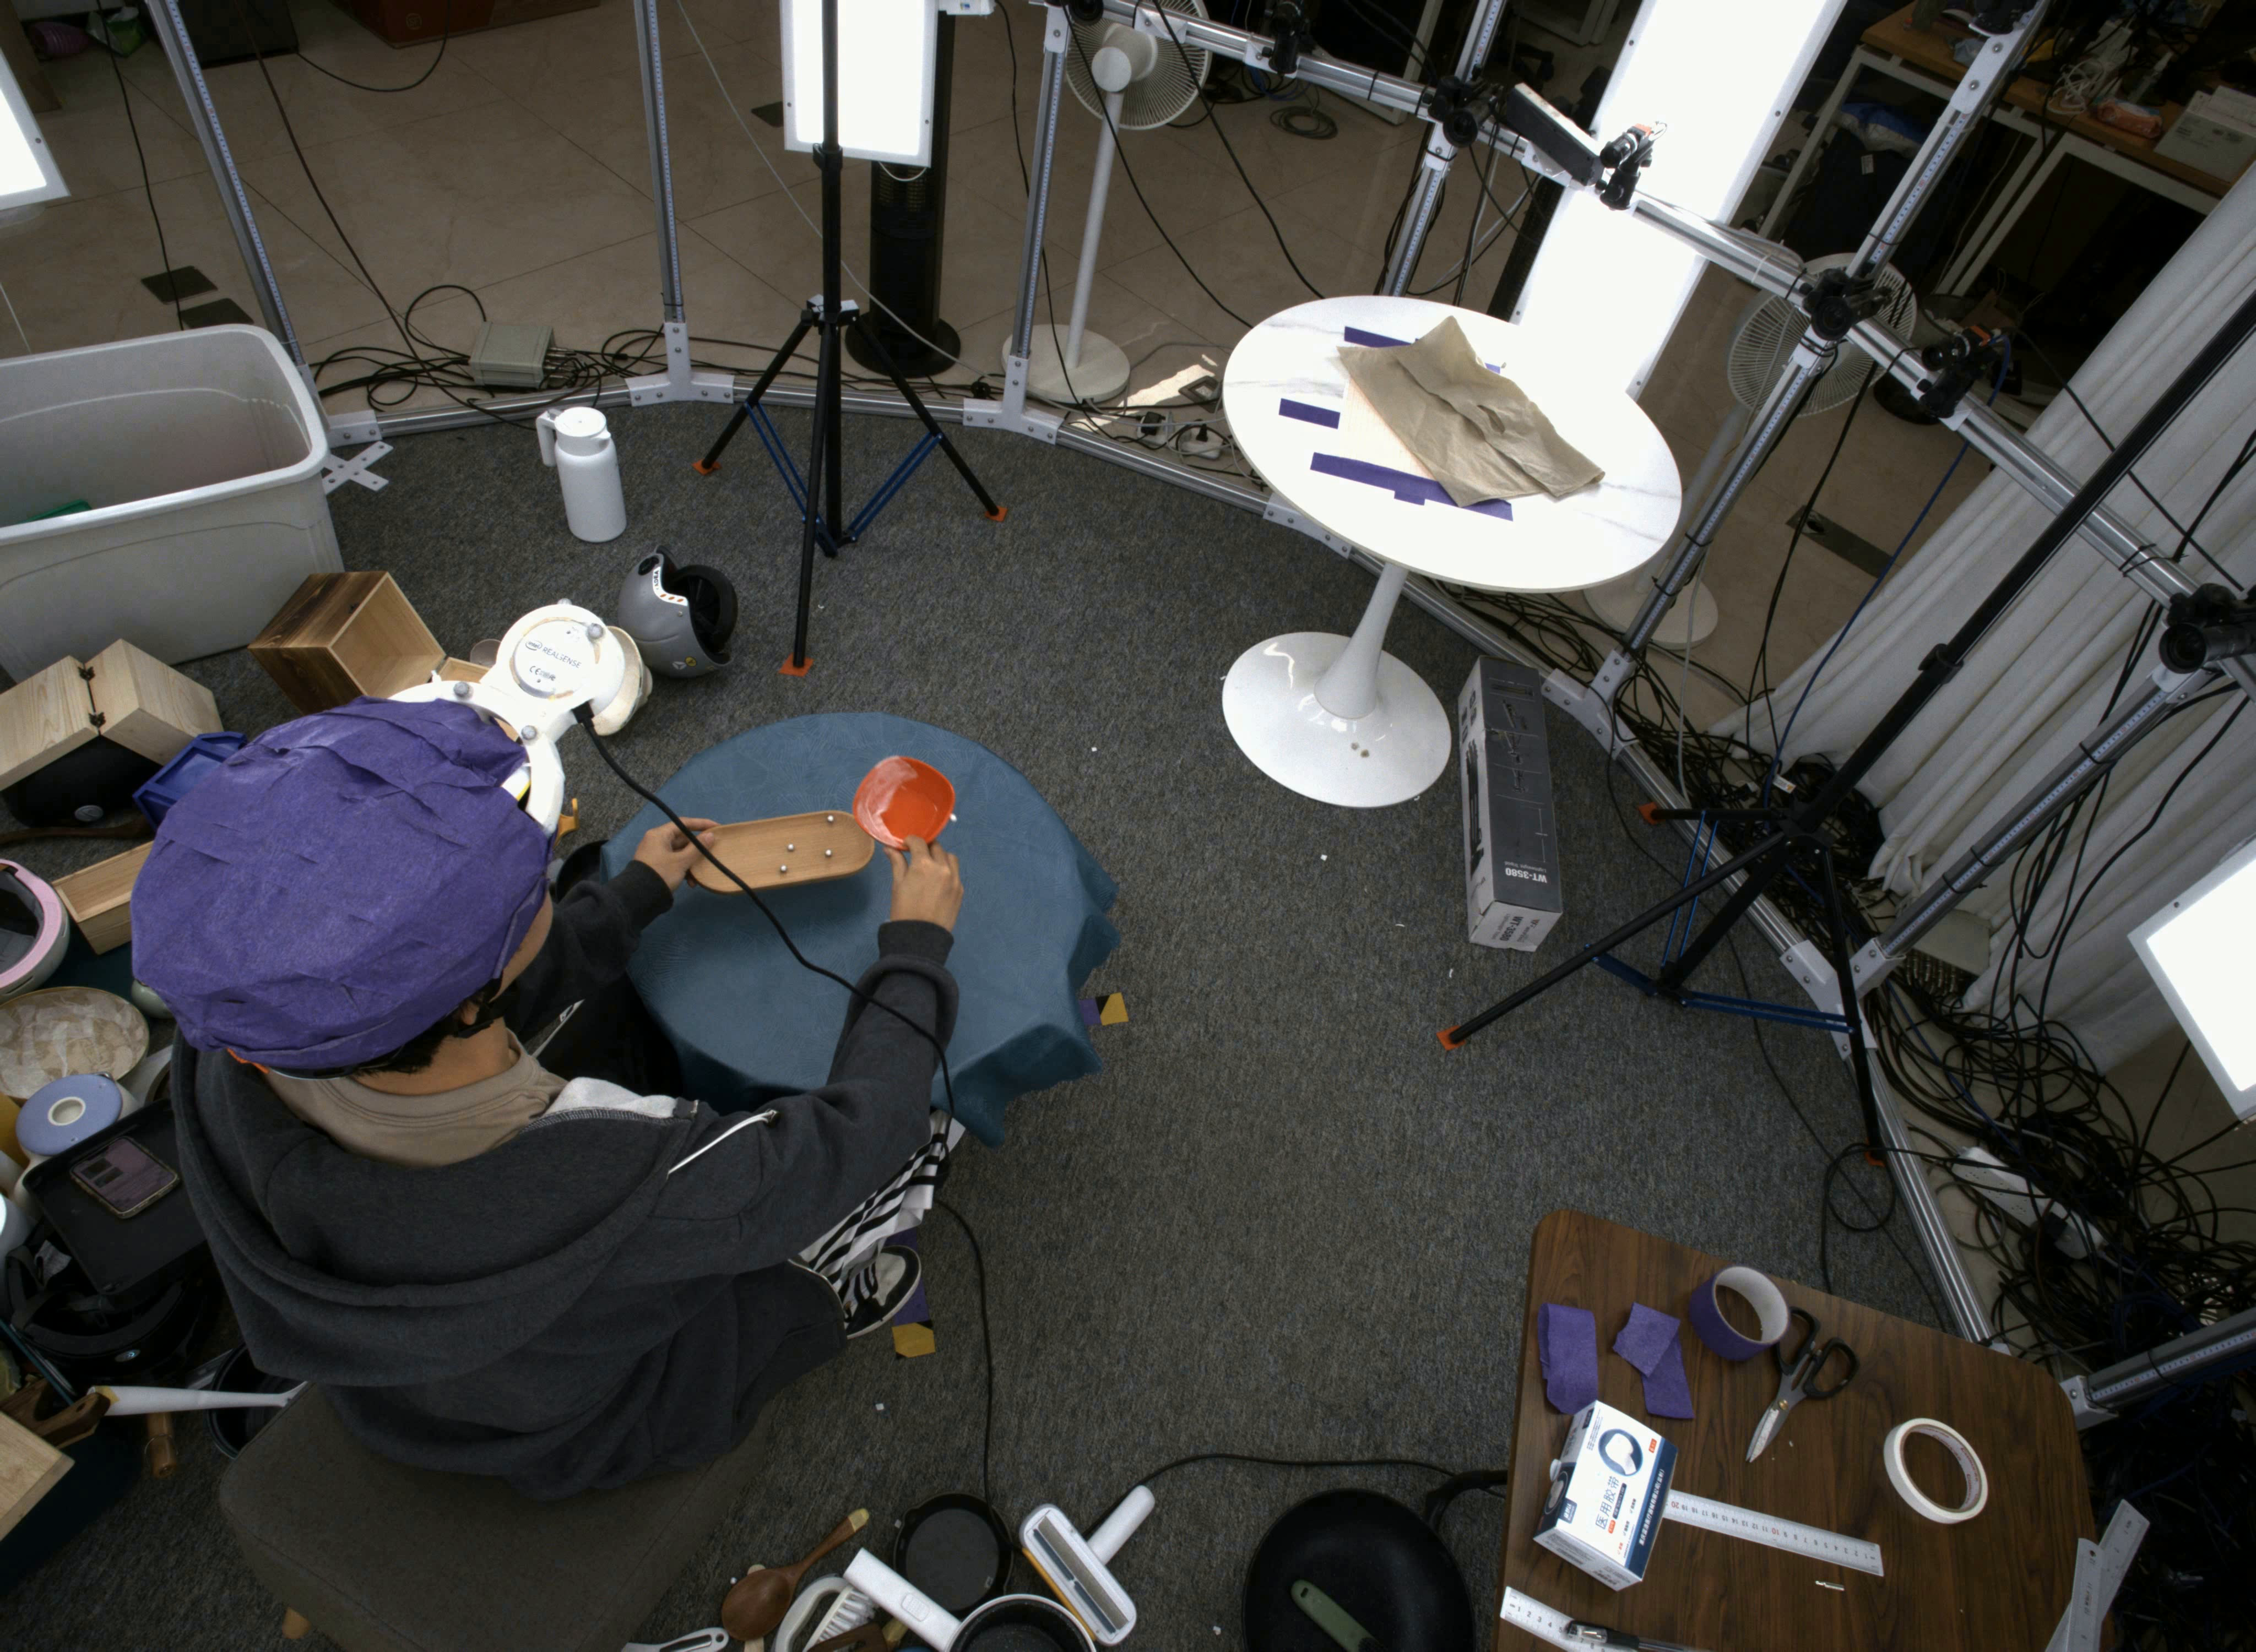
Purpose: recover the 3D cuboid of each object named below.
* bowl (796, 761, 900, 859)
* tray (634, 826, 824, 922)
[{"bbox_3d":[-0.320,-0.012,1.492,0.118,0.052,0.118,3,70,-7],"label":"bowl"},{"bbox_3d":[-0.486,0.056,1.577,0.233,0.020,0.099,-14,60,-28],"label":"tray"}]
